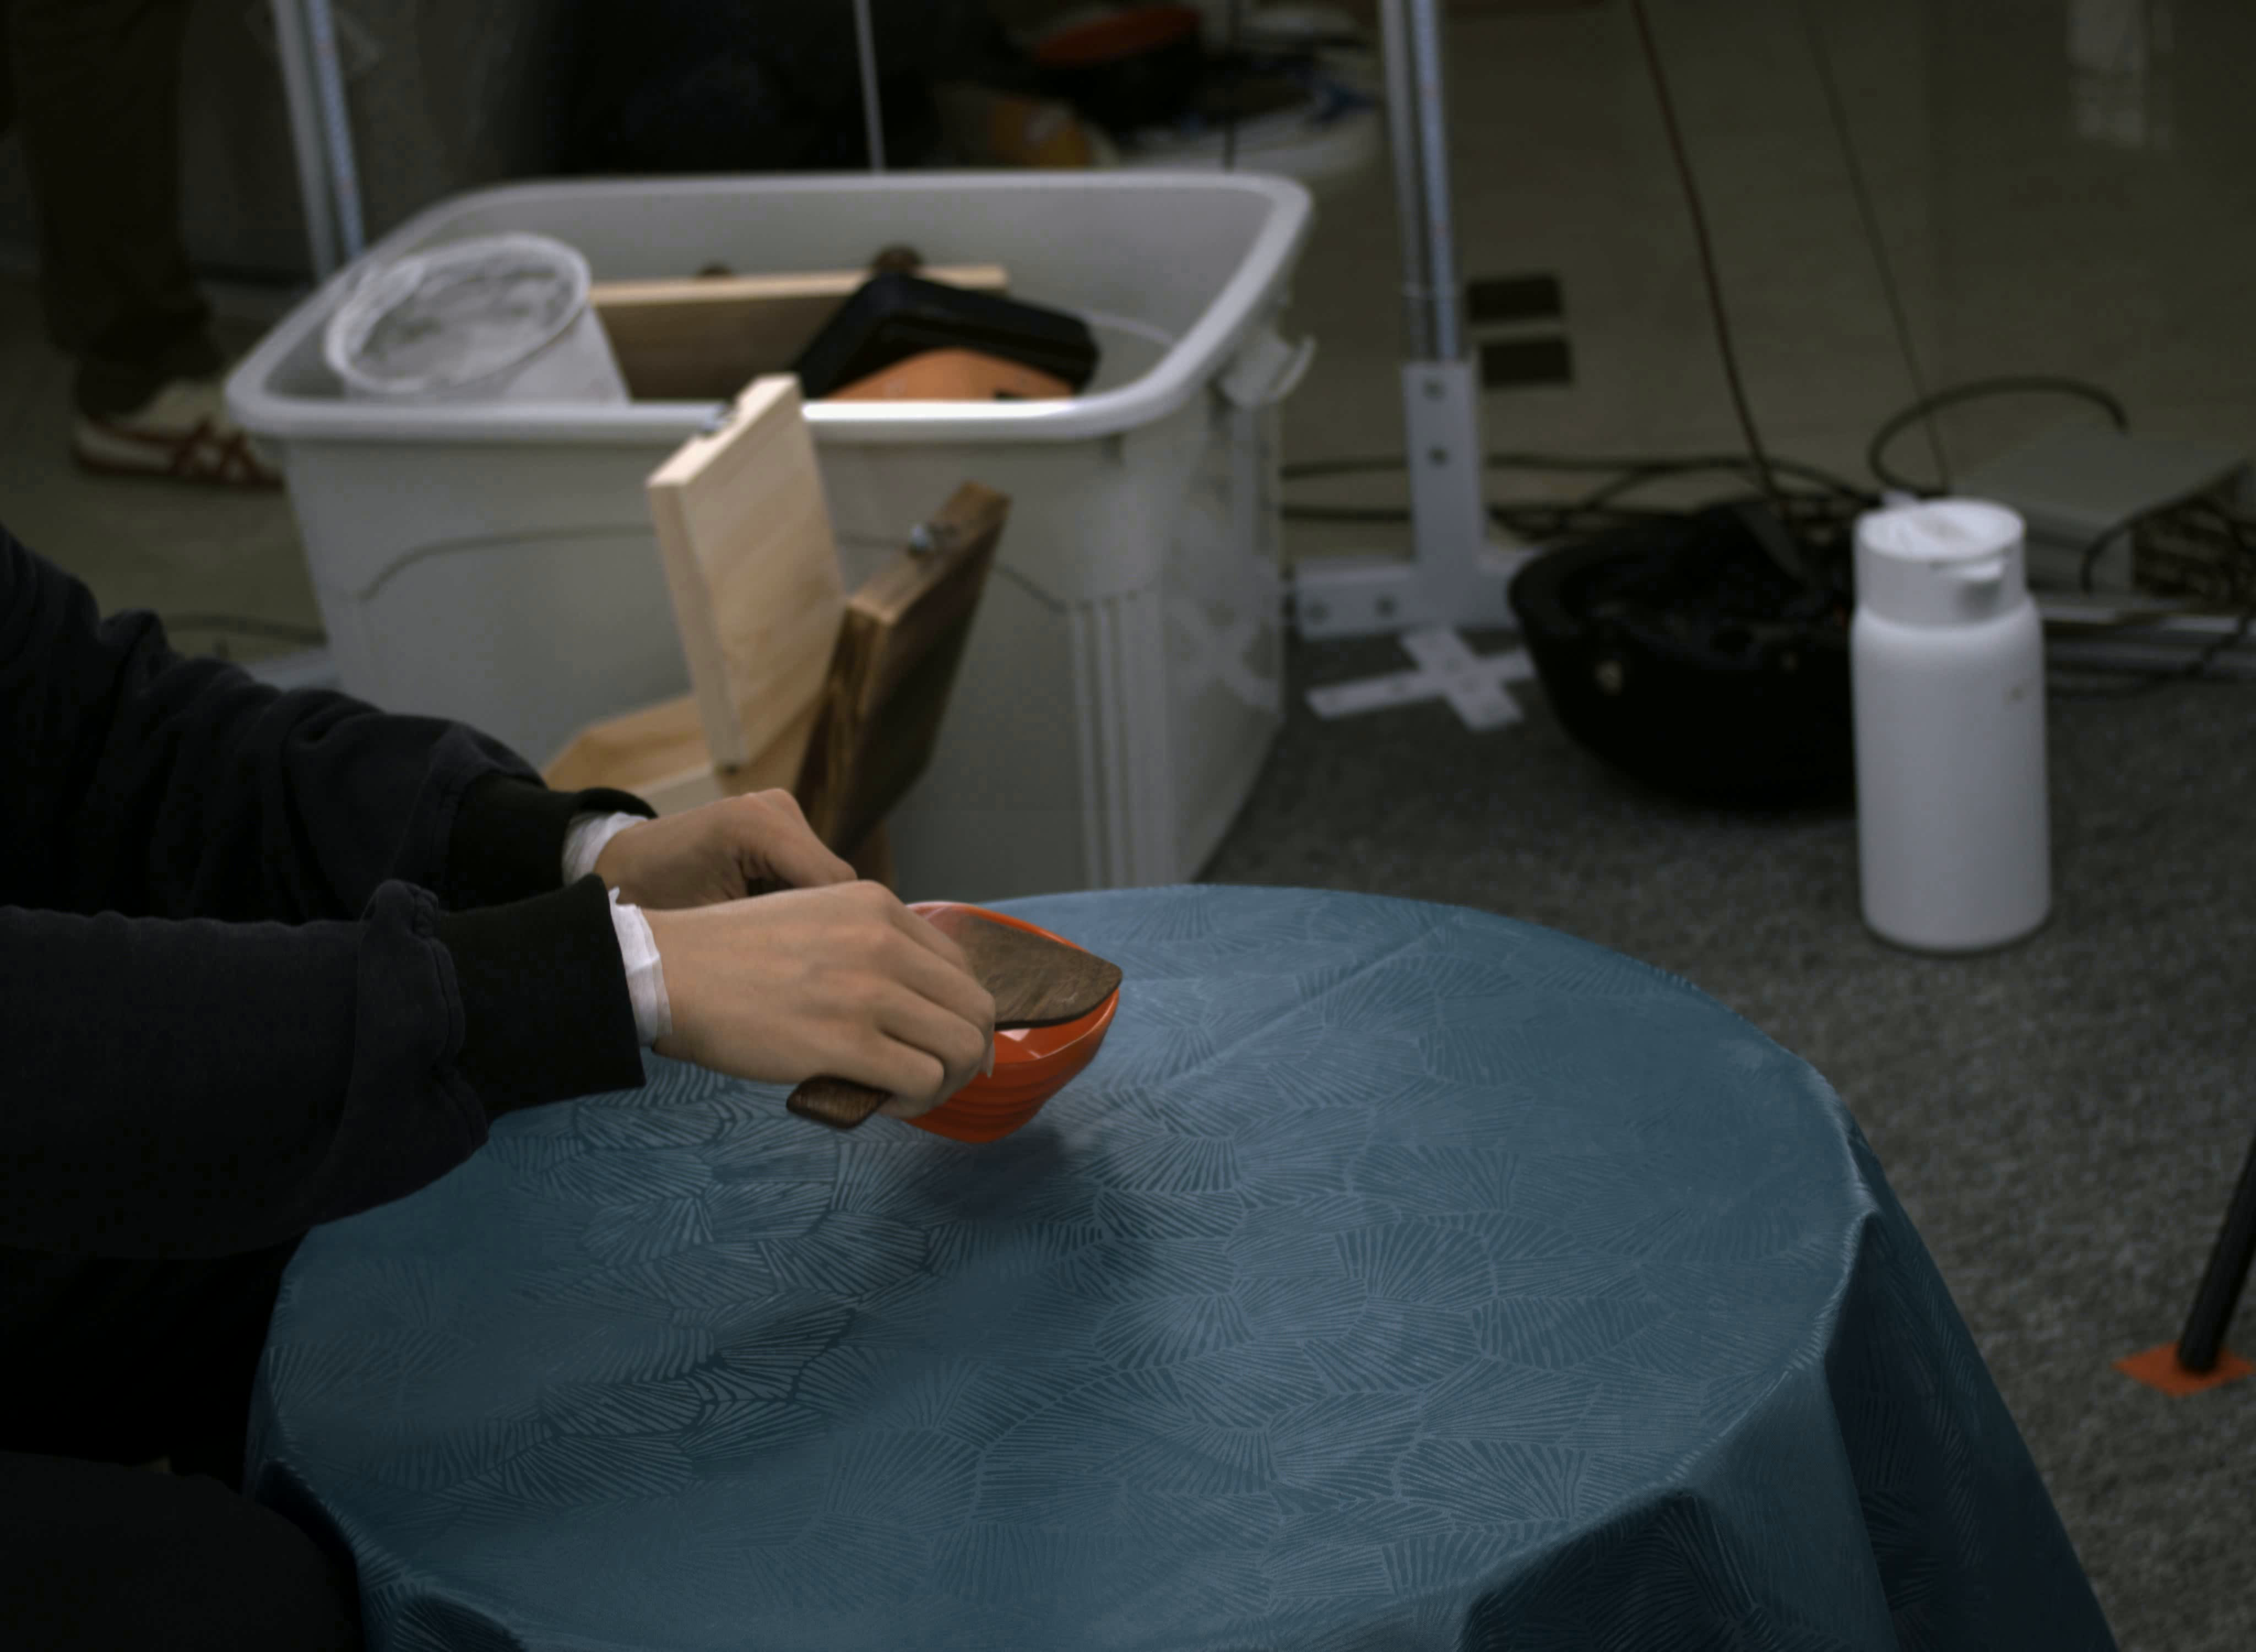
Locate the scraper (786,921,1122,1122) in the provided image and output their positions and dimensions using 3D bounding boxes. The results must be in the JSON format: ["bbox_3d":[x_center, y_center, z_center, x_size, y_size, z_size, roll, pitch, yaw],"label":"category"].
[{"bbox_3d":[-0.071,0.074,2.070,0.075,0.011,0.209,17,20,17],"label":"scraper"}]

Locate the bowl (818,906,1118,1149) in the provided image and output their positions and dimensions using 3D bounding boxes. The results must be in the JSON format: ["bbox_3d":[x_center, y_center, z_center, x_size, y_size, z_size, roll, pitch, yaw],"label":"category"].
[{"bbox_3d":[-0.065,0.083,2.195,0.119,0.052,0.117,8,31,-5],"label":"bowl"}]
